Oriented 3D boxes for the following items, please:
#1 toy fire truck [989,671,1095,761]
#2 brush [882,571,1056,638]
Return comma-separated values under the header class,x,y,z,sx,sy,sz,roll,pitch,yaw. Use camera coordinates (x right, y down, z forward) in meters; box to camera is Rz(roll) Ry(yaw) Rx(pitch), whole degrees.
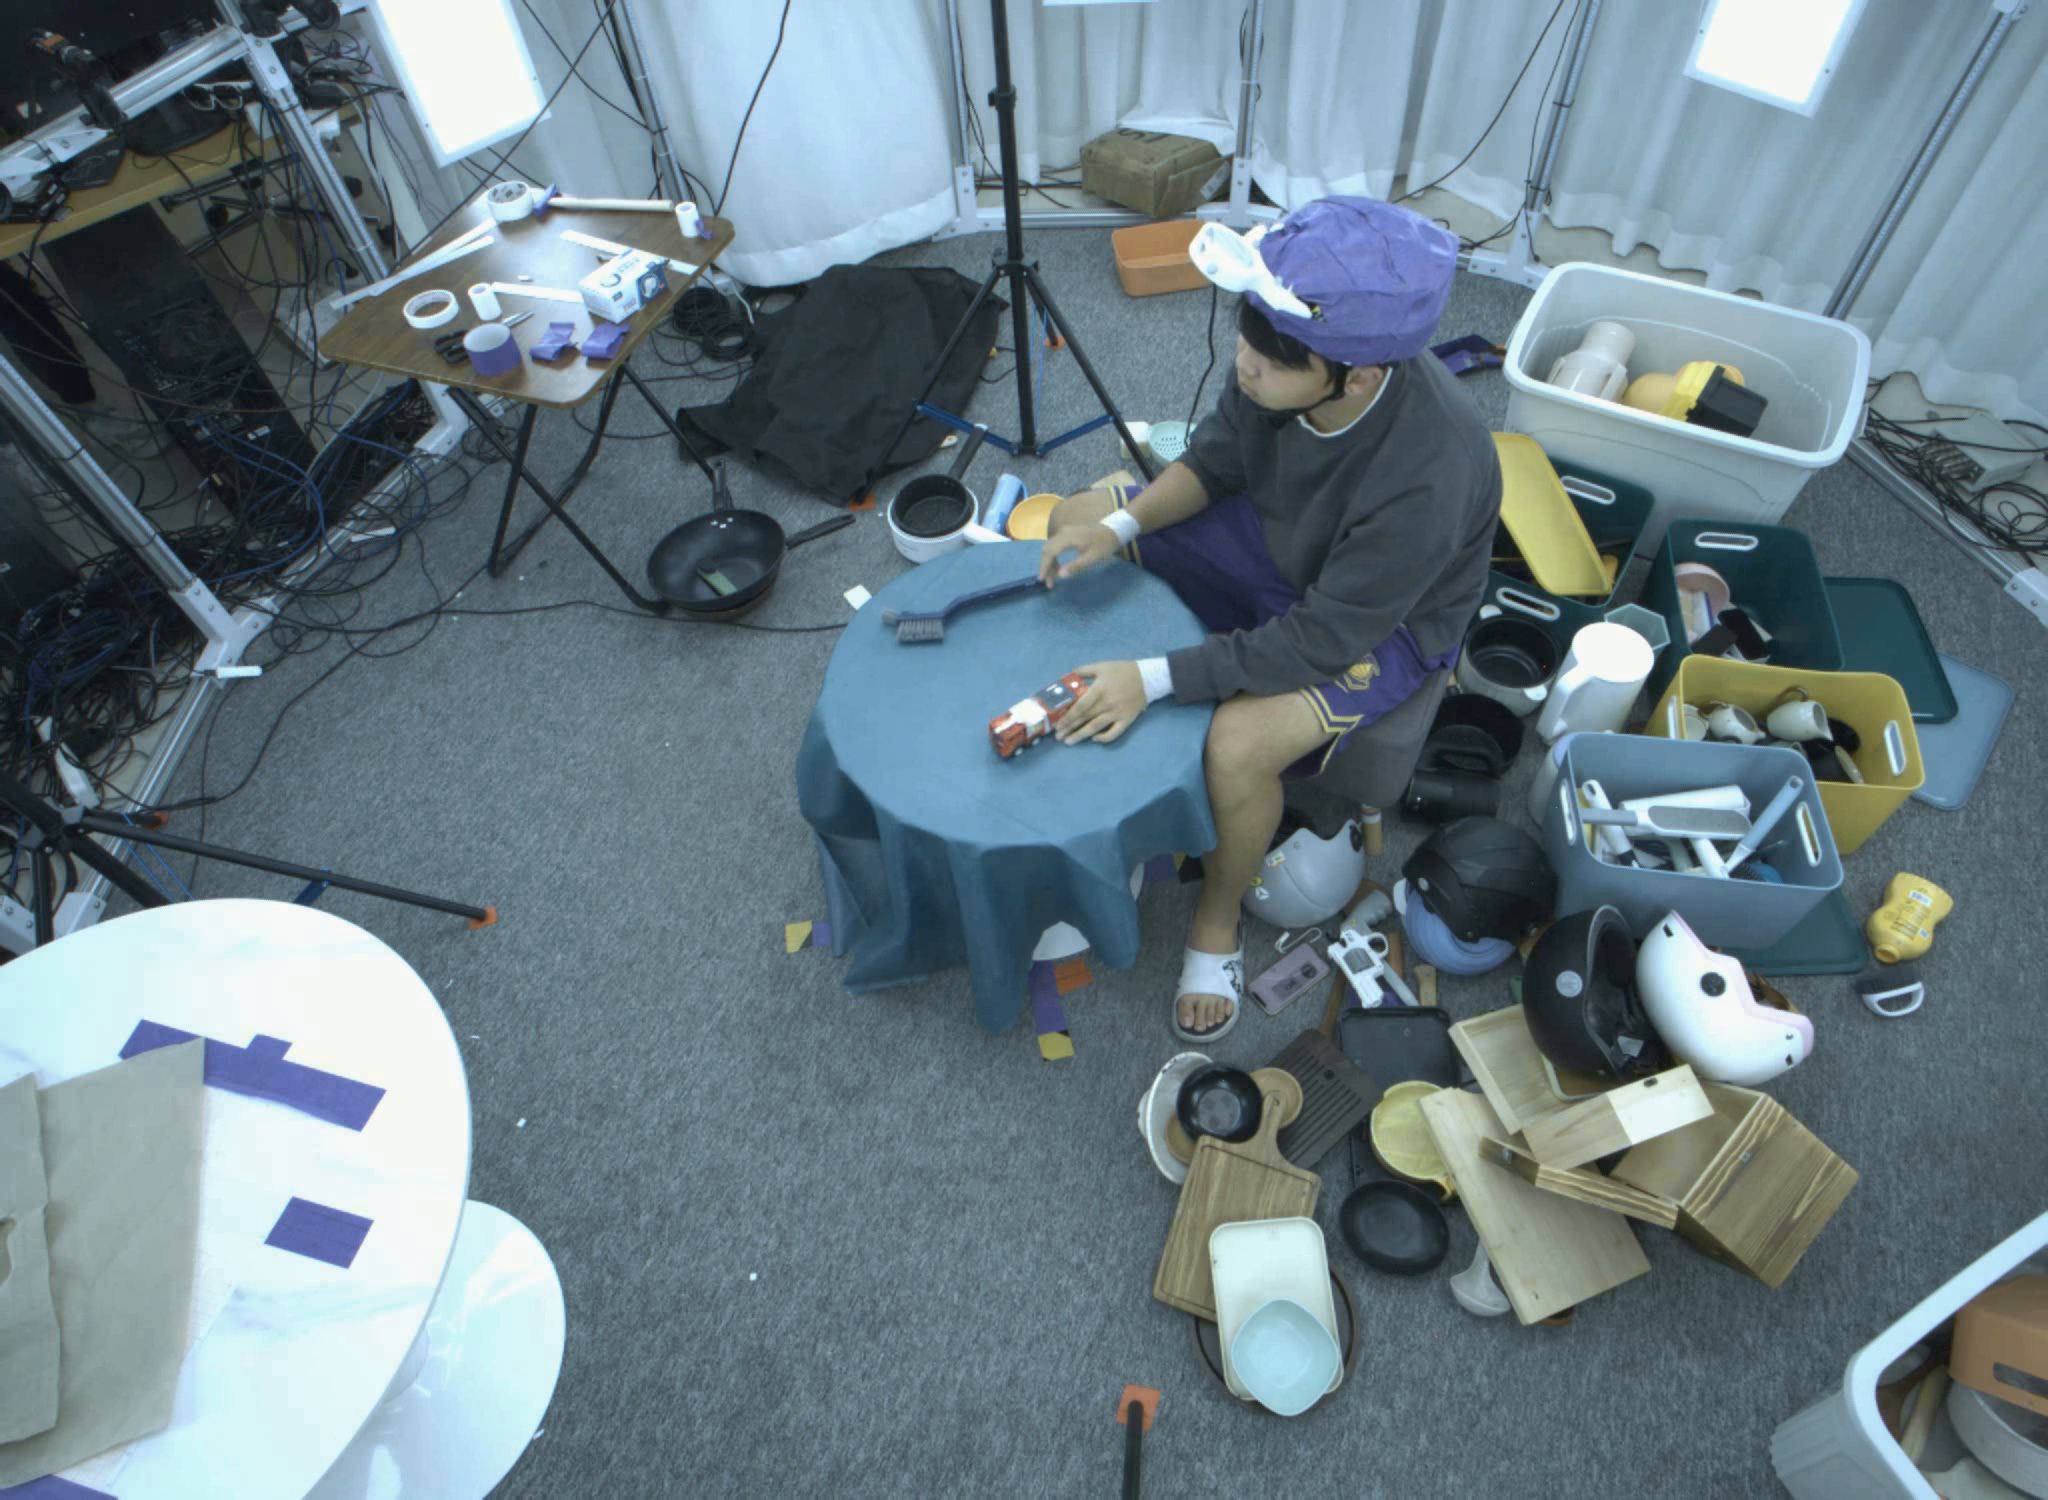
class,x,y,z,sx,sy,sz,roll,pitch,yaw
toy fire truck,0.024,-0.049,1.788,0.169,0.071,0.053,-32,58,-20
brush,-0.085,-0.242,1.945,0.275,0.034,0.094,-24,55,-13
